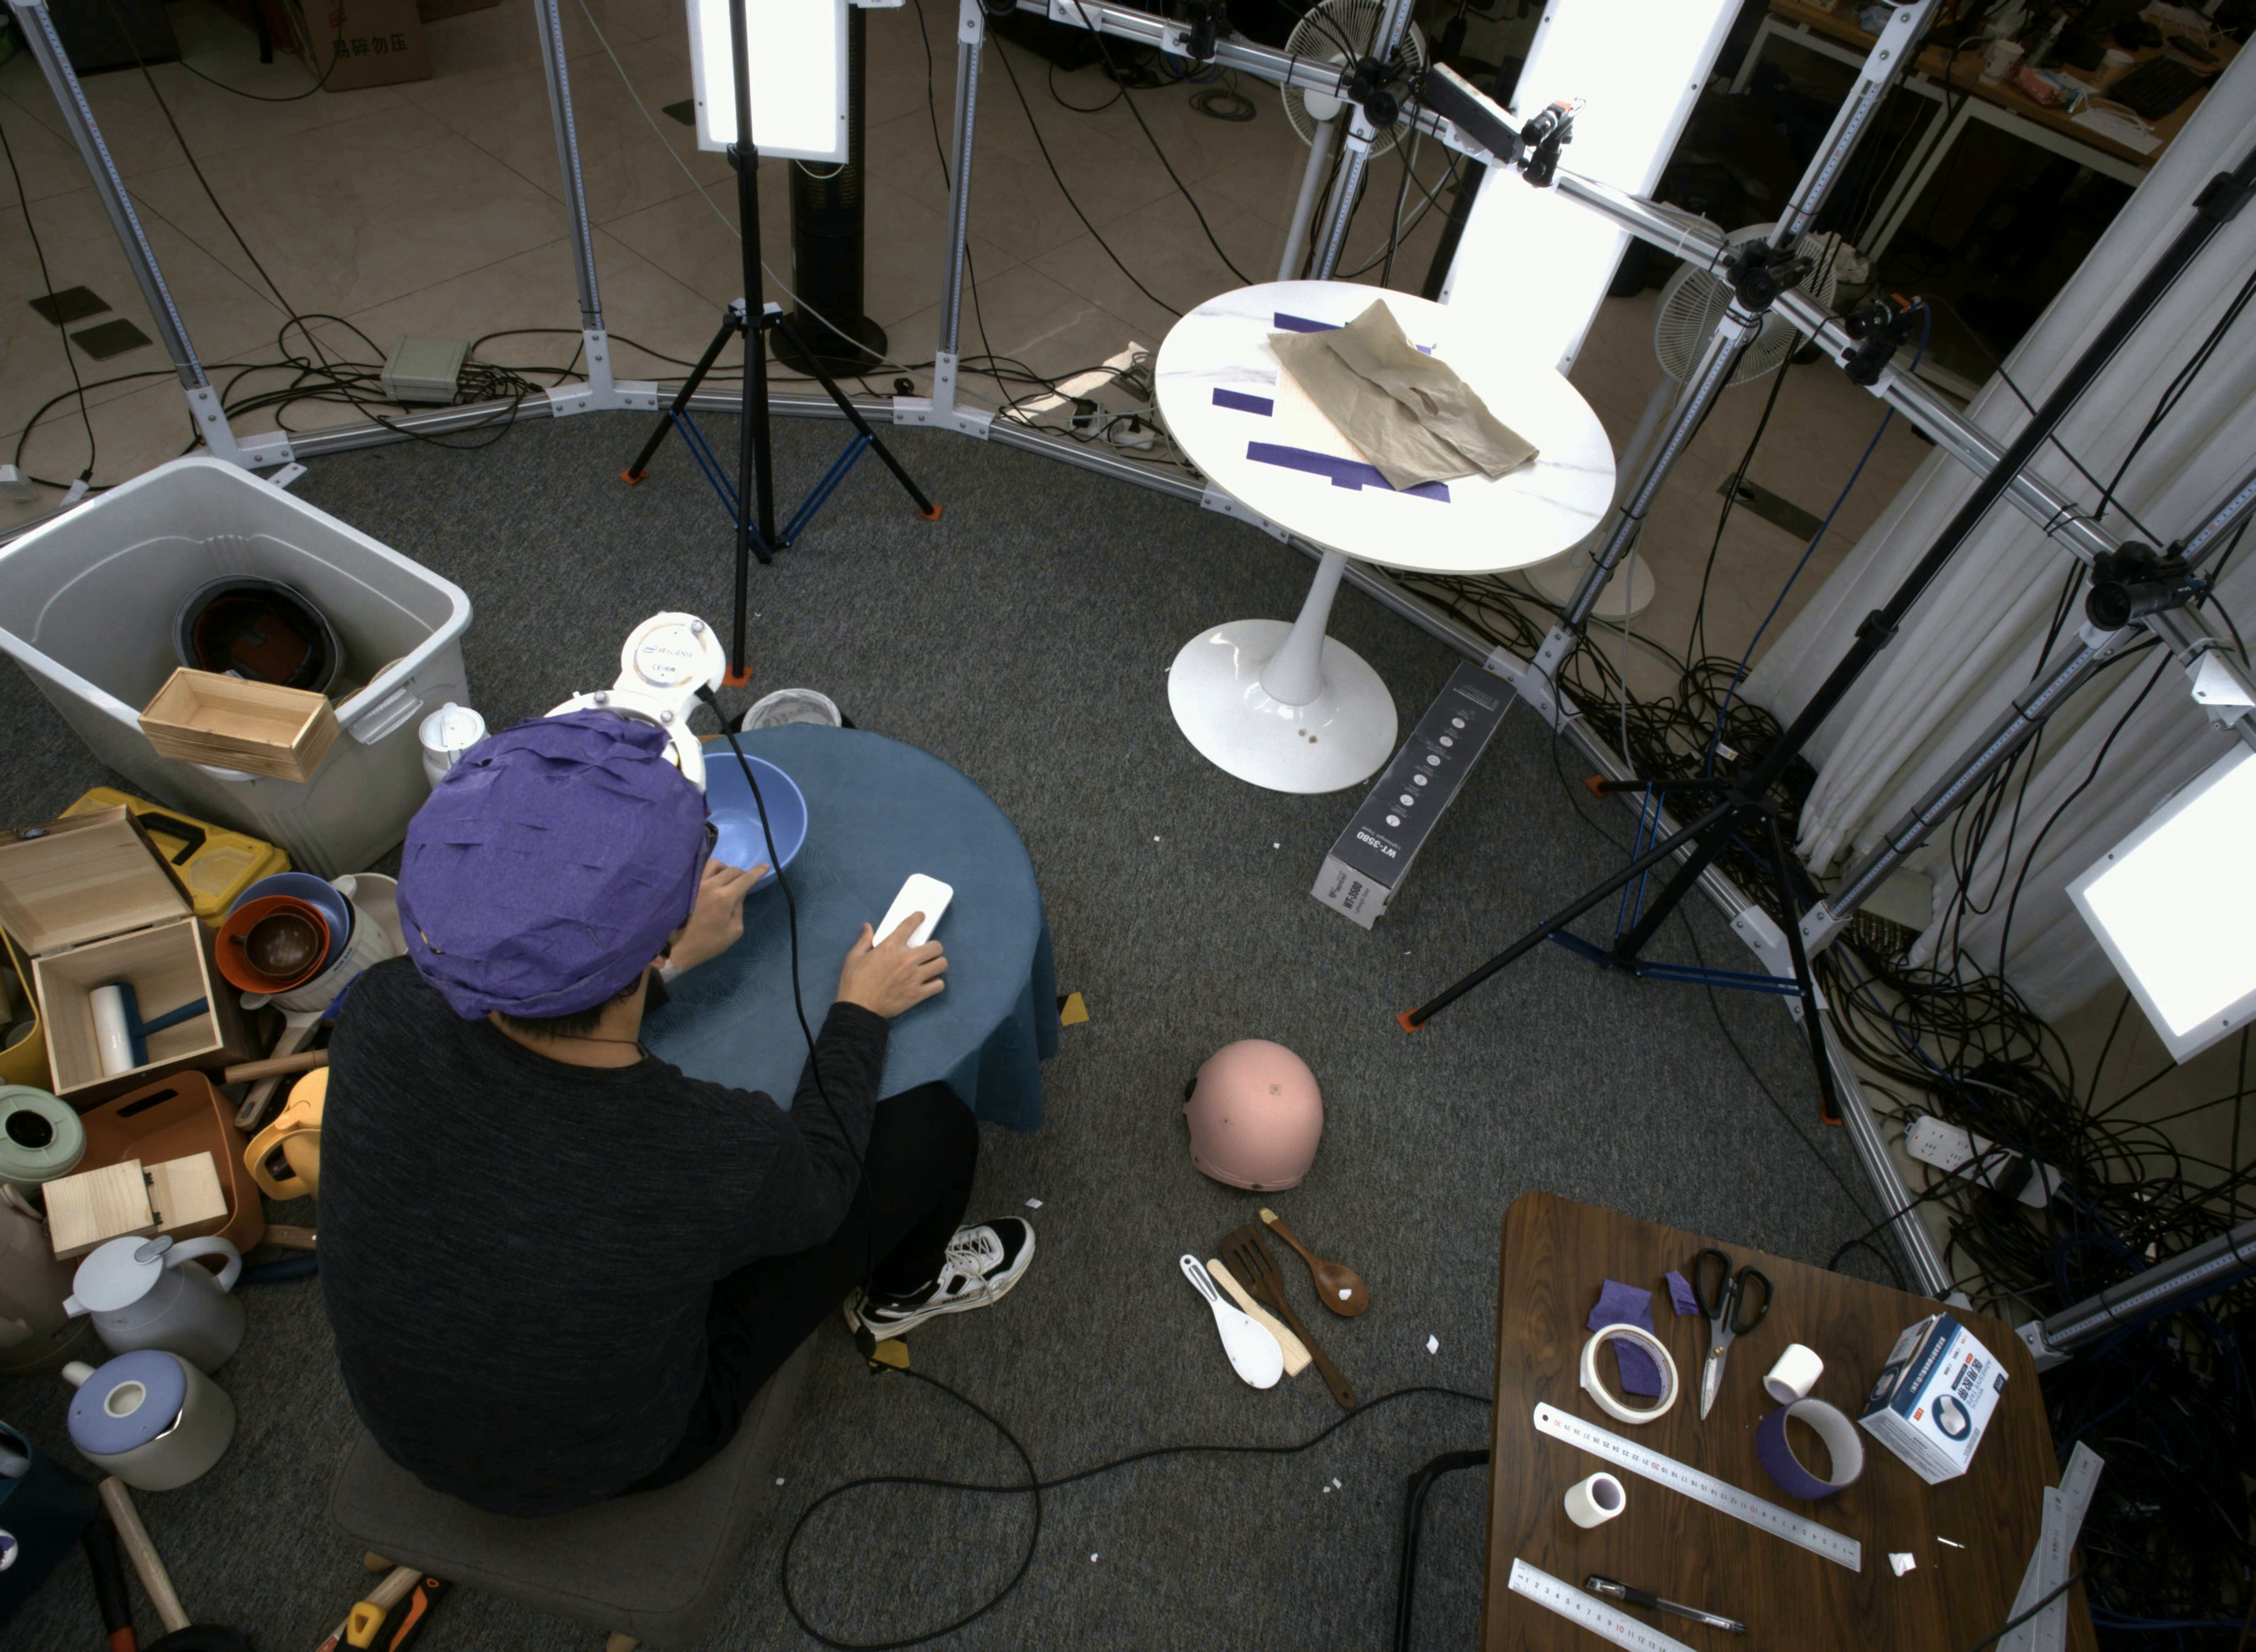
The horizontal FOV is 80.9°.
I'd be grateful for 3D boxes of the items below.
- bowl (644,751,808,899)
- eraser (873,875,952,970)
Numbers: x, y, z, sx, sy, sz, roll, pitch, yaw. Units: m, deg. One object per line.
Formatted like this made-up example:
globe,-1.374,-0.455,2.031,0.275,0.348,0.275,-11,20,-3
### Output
bowl,-0.504,0.013,1.621,0.197,0.096,0.193,10,57,-13
eraser,-0.274,0.118,1.650,0.062,0.035,0.130,22,50,4
